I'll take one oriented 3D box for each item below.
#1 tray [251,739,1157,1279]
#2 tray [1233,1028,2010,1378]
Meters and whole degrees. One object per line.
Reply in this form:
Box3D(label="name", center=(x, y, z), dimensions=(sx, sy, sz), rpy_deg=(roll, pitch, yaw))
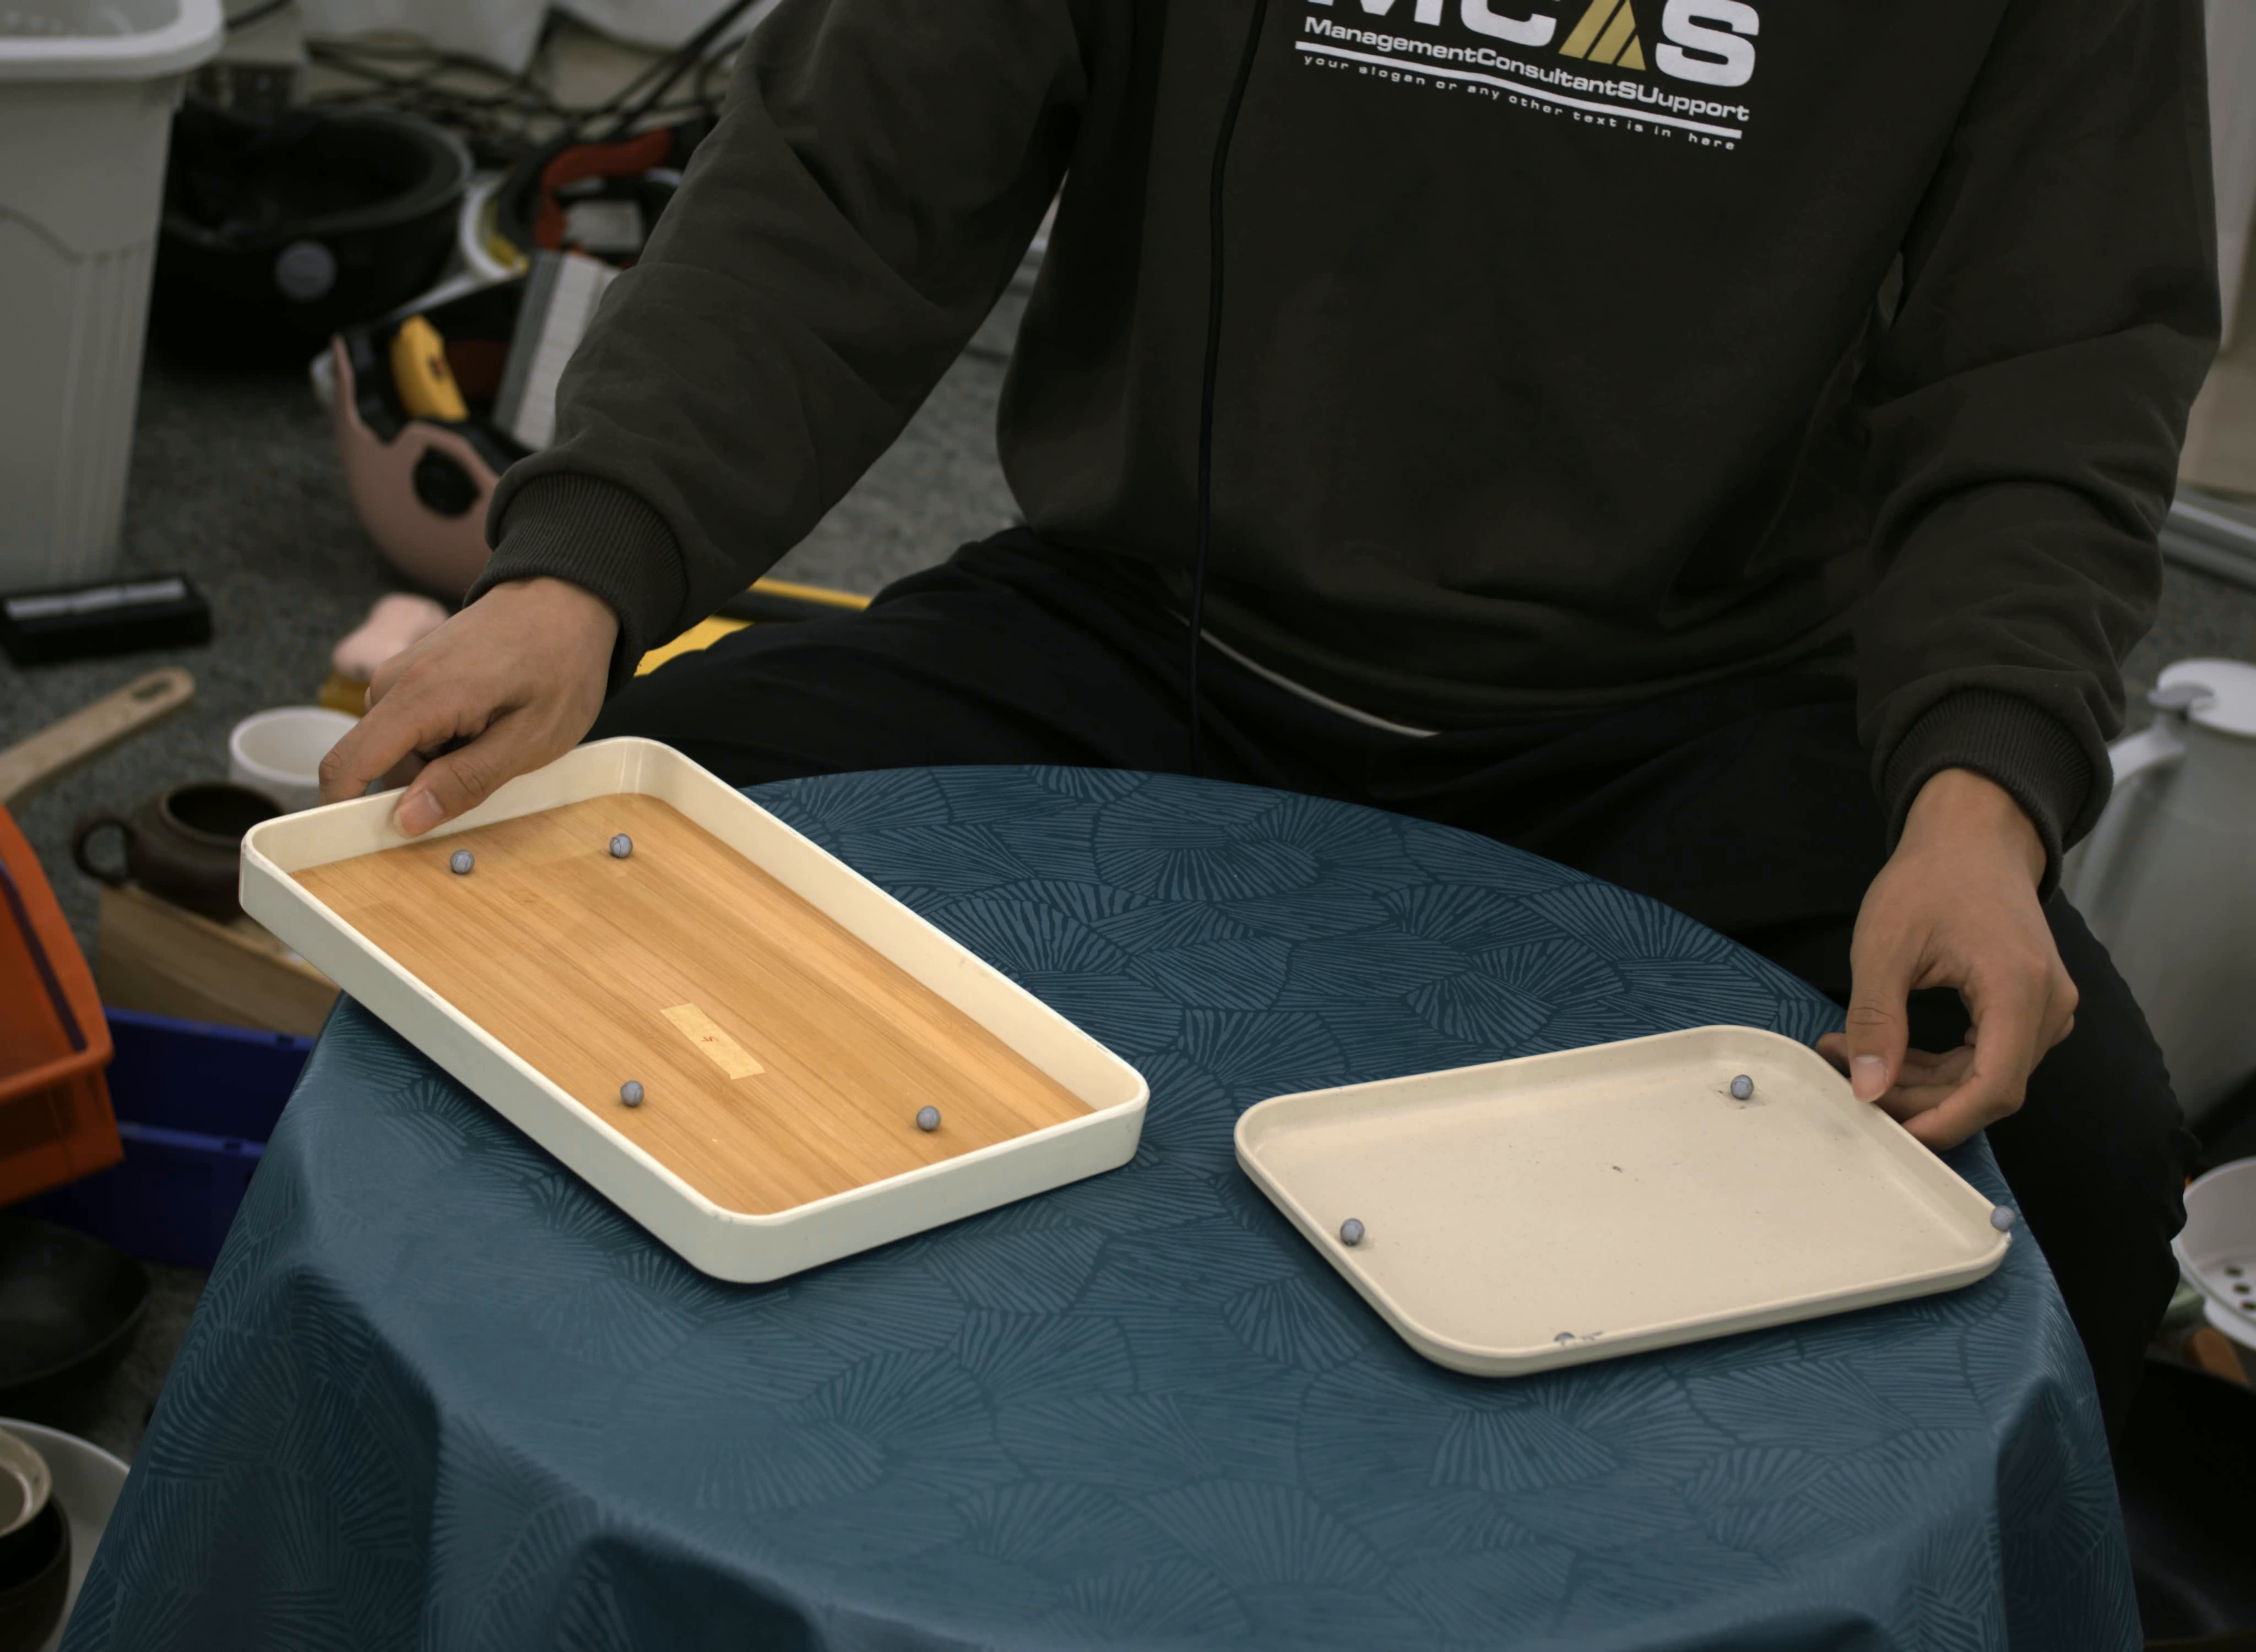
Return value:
Box3D(label="tray", center=(-0.151, 0.058, 1.859), dimensions=(0.190, 0.027, 0.303), rpy_deg=(-15, 35, -40))
Box3D(label="tray", center=(0.168, 0.128, 1.819), dimensions=(0.238, 0.017, 0.173), rpy_deg=(-8, 30, -27))
